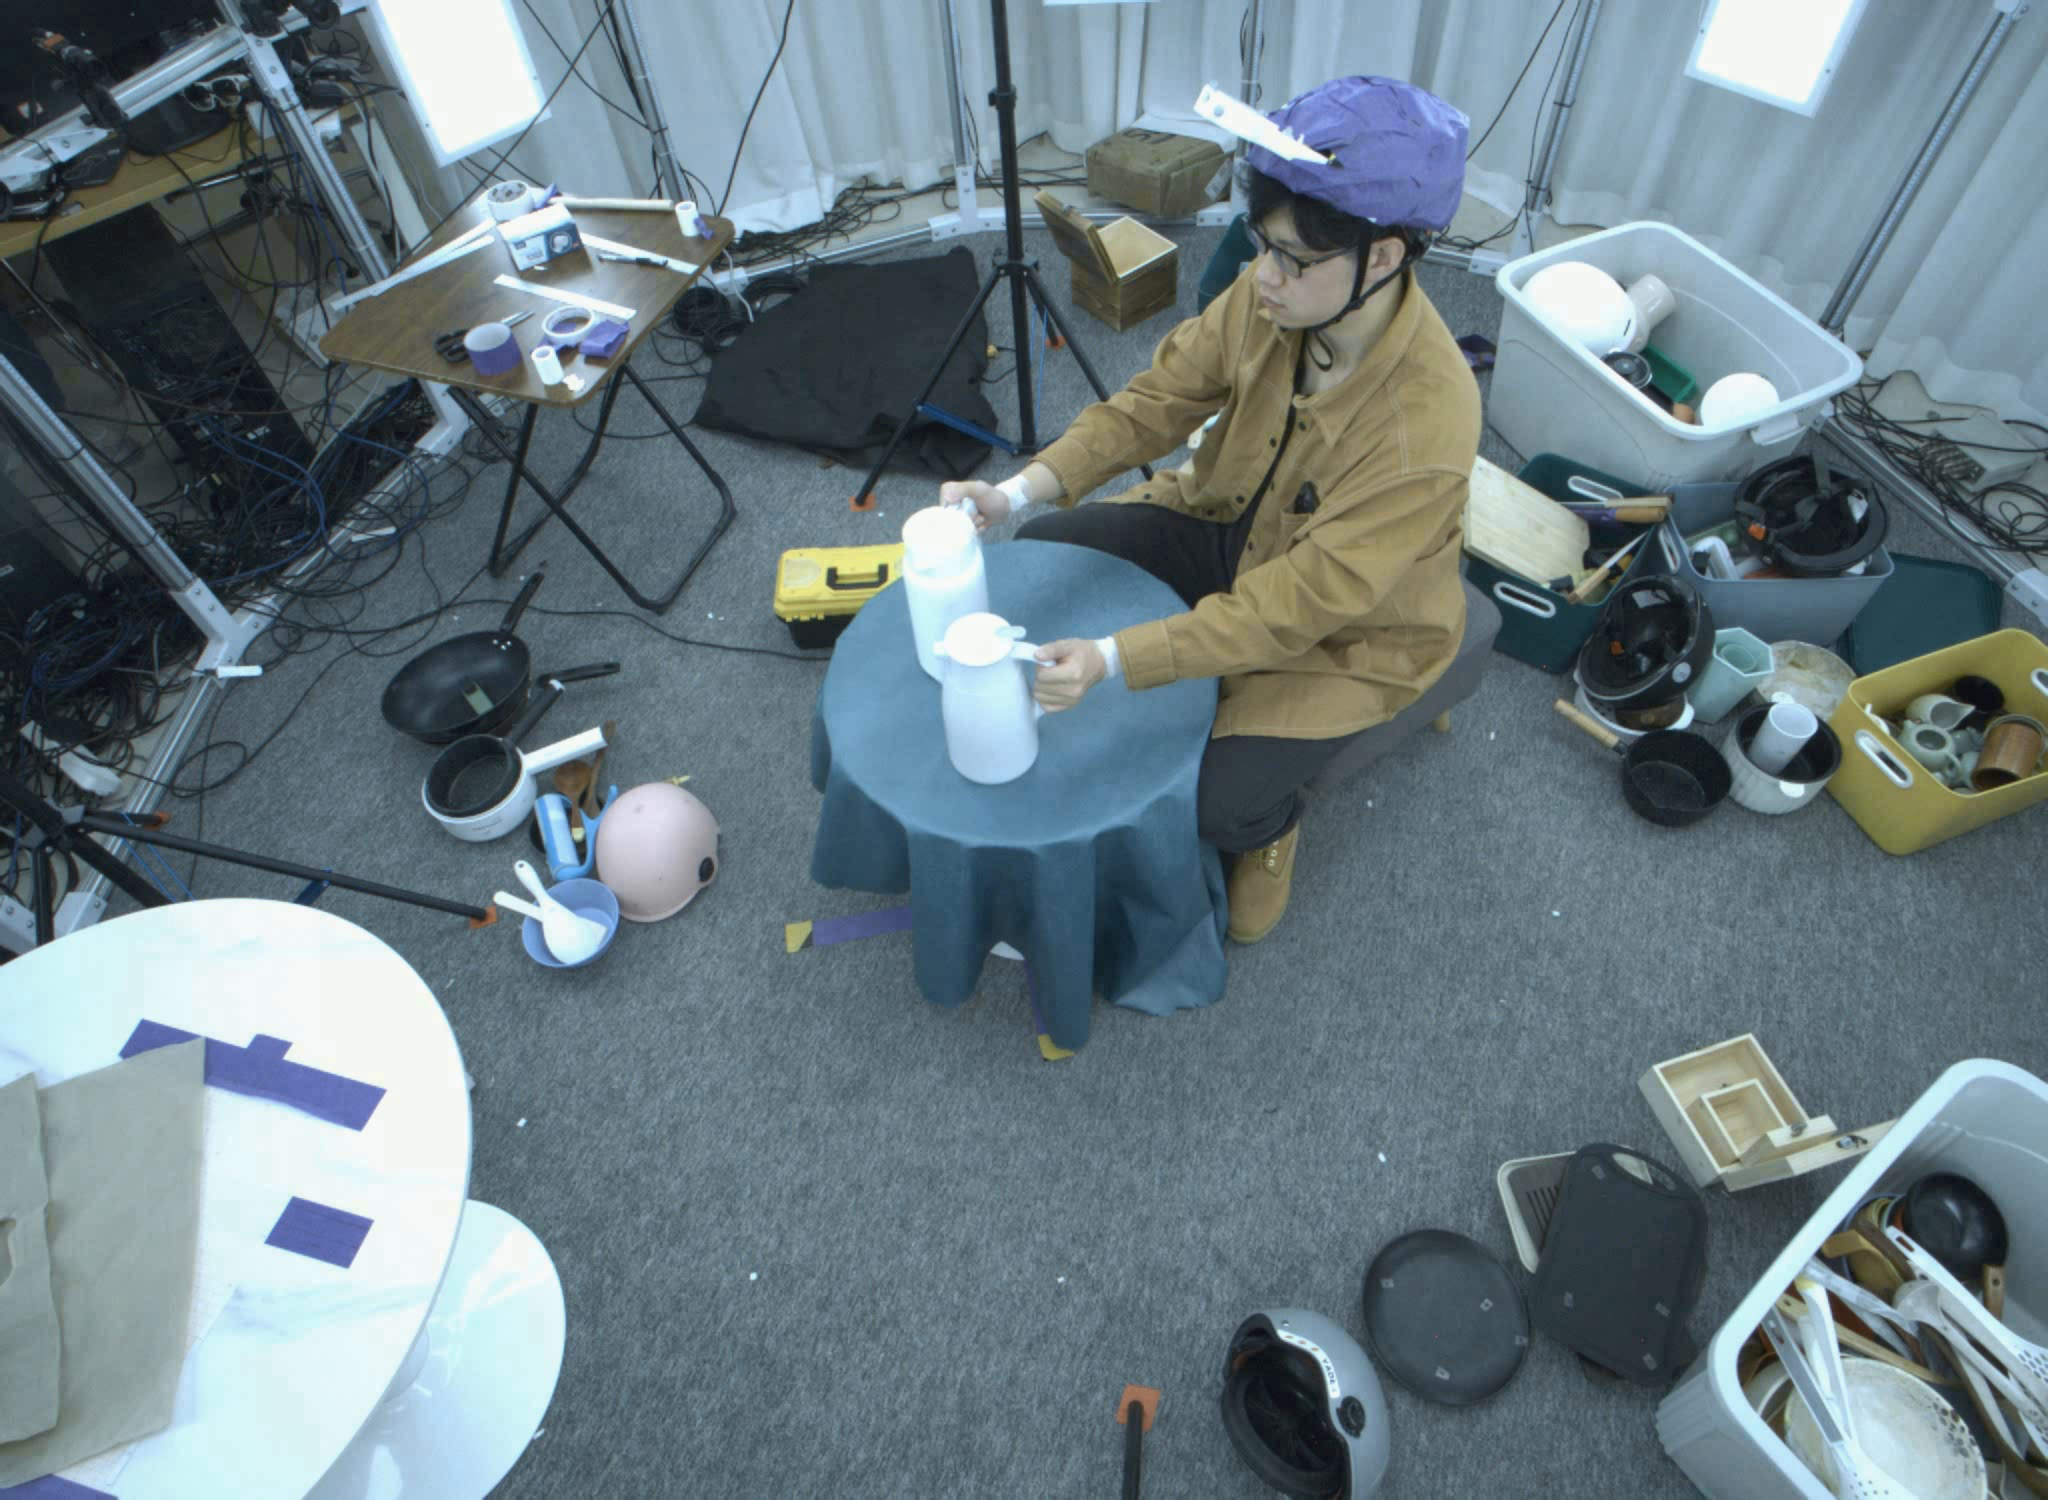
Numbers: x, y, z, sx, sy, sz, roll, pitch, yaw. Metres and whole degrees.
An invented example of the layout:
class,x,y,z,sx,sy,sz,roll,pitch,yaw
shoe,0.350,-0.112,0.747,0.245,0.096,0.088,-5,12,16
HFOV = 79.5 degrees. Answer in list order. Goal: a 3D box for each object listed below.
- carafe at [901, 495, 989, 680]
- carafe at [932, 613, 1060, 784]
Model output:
class,x,y,z,sx,sy,sz,roll,pitch,yaw
carafe,-0.109,-0.239,1.792,0.122,0.272,0.172,13,56,15
carafe,-0.034,-0.079,1.687,0.168,0.251,0.131,-4,54,-1
